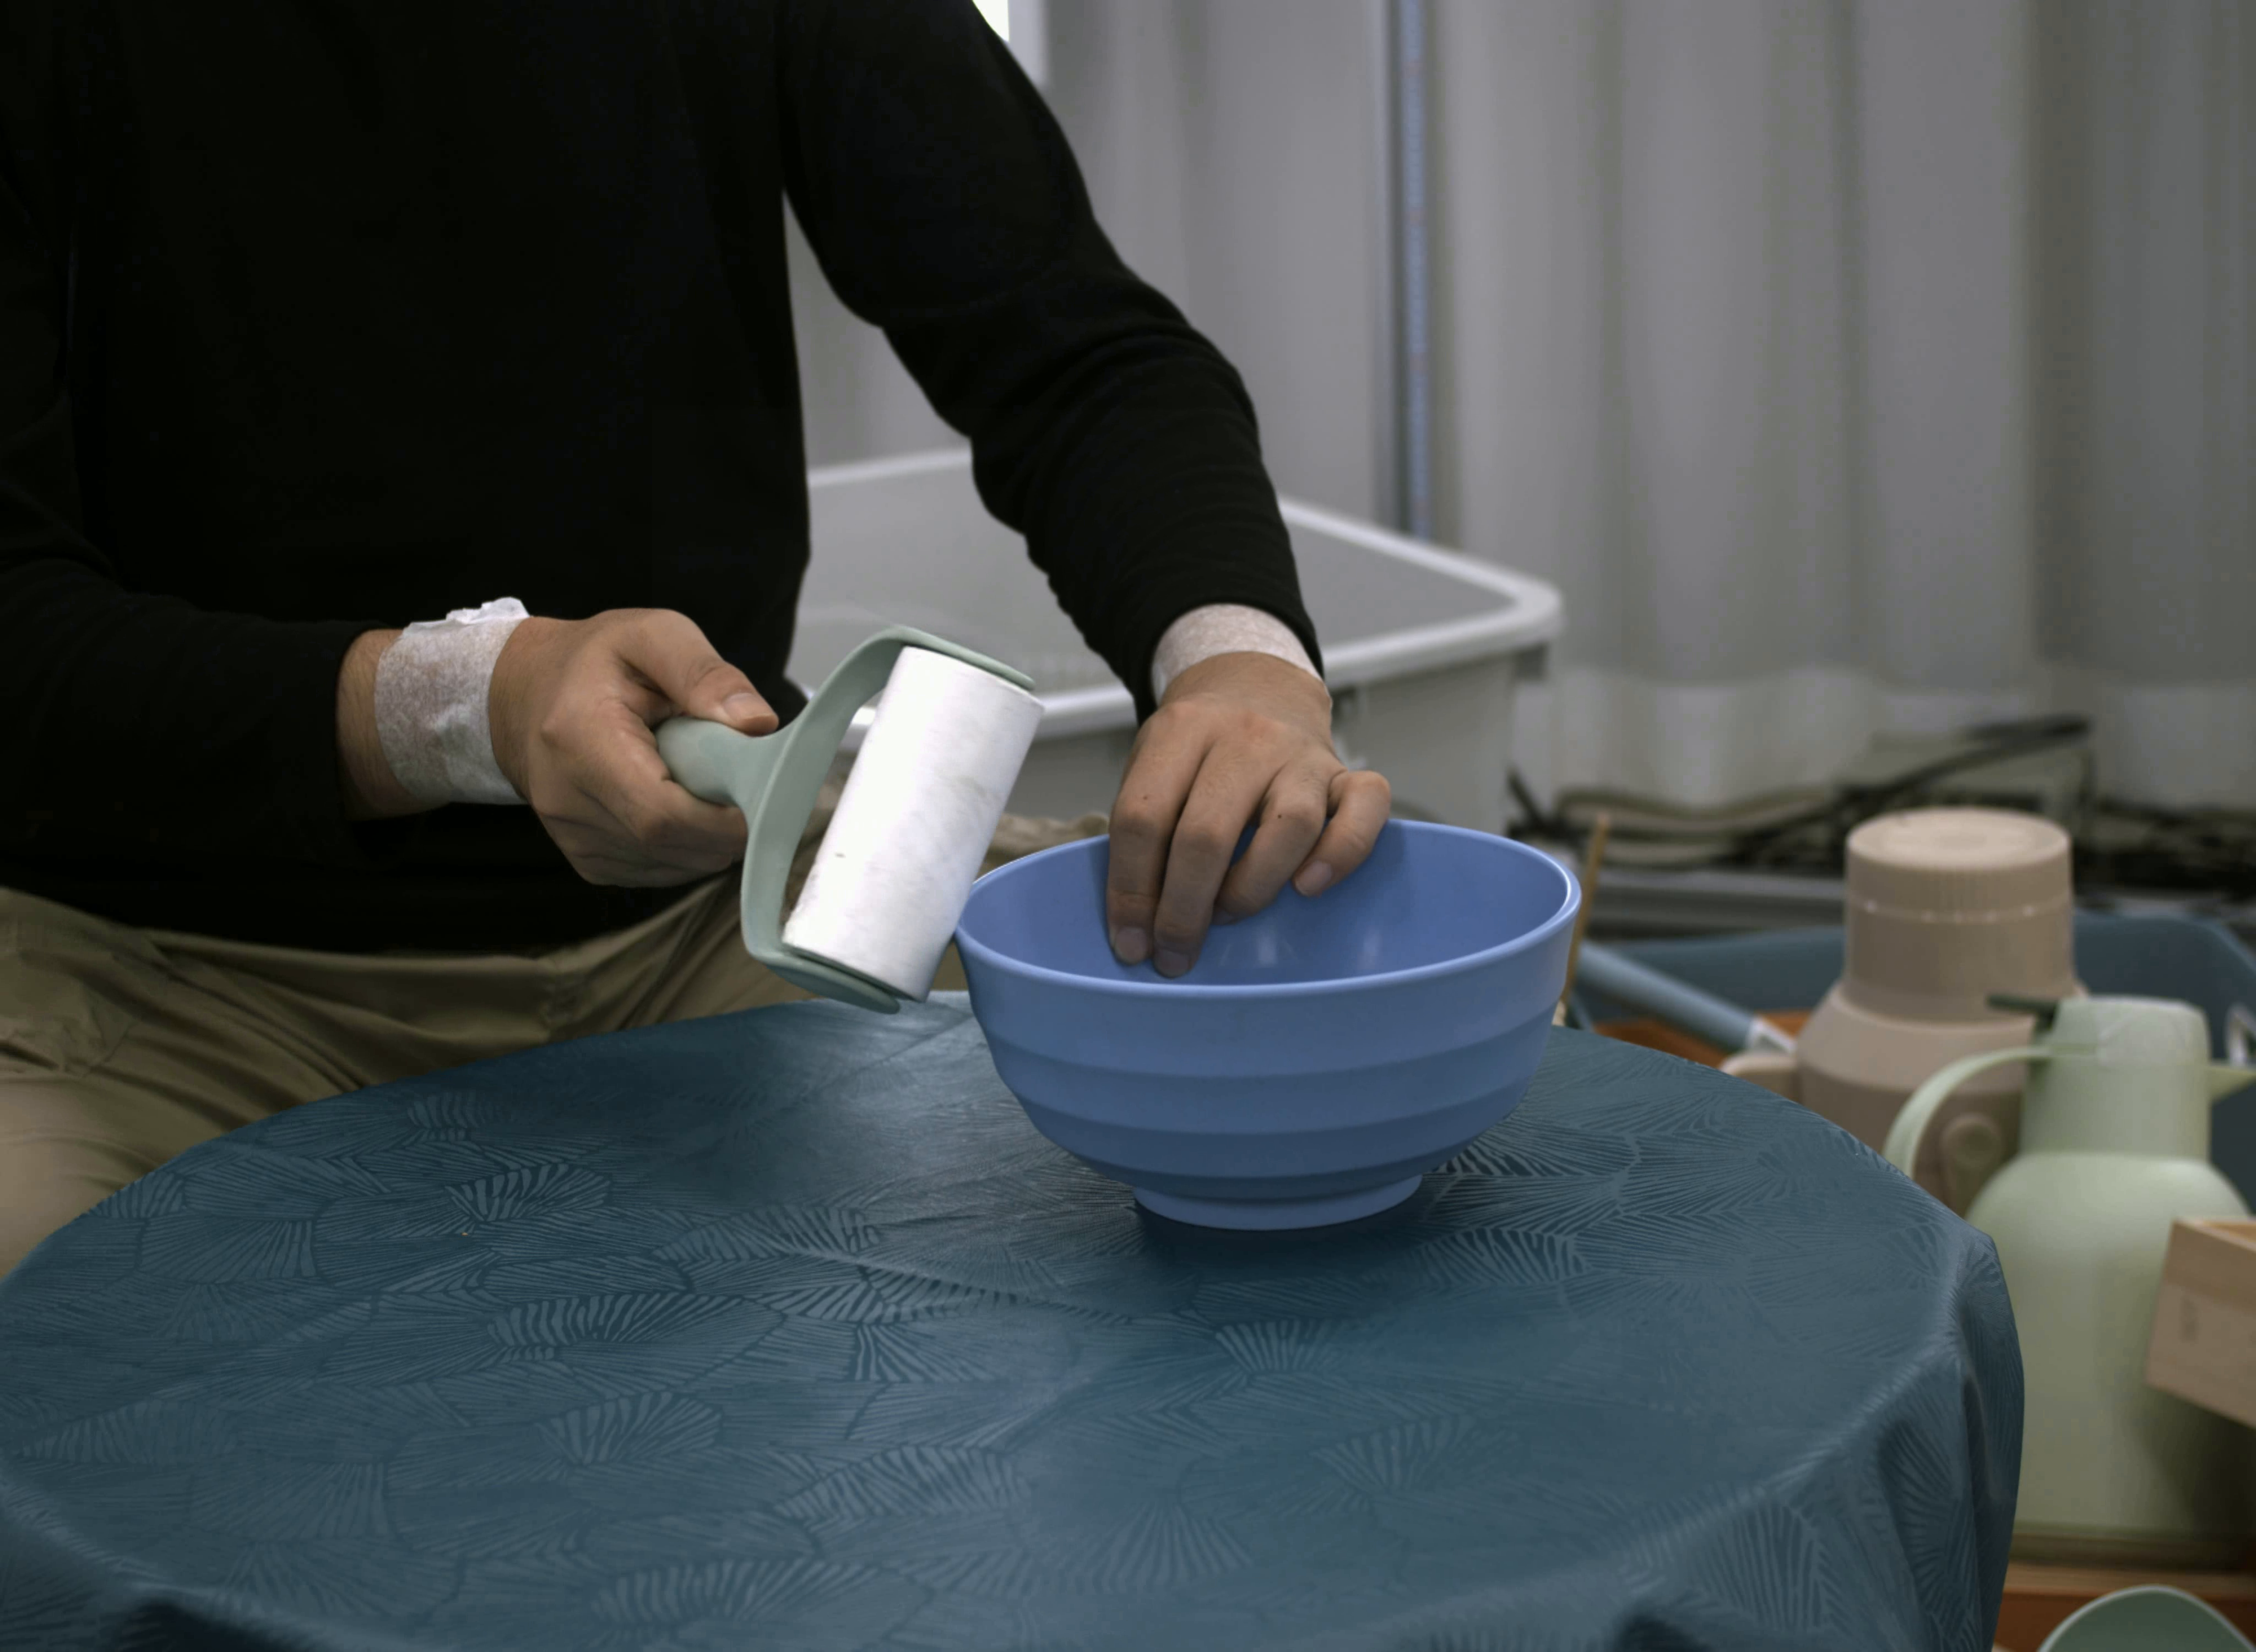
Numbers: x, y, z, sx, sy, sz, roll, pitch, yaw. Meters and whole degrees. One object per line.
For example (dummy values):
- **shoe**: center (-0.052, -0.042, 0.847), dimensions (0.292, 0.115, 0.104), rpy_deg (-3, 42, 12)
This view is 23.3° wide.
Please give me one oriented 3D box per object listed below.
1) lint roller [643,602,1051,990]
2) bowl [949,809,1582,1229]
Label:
- **lint roller**: center (-0.106, -0.018, 1.733), dimensions (0.048, 0.117, 0.199), rpy_deg (28, -9, -37)
- **bowl**: center (0.045, 0.066, 1.701), dimensions (0.196, 0.095, 0.198), rpy_deg (-4, 16, 1)
